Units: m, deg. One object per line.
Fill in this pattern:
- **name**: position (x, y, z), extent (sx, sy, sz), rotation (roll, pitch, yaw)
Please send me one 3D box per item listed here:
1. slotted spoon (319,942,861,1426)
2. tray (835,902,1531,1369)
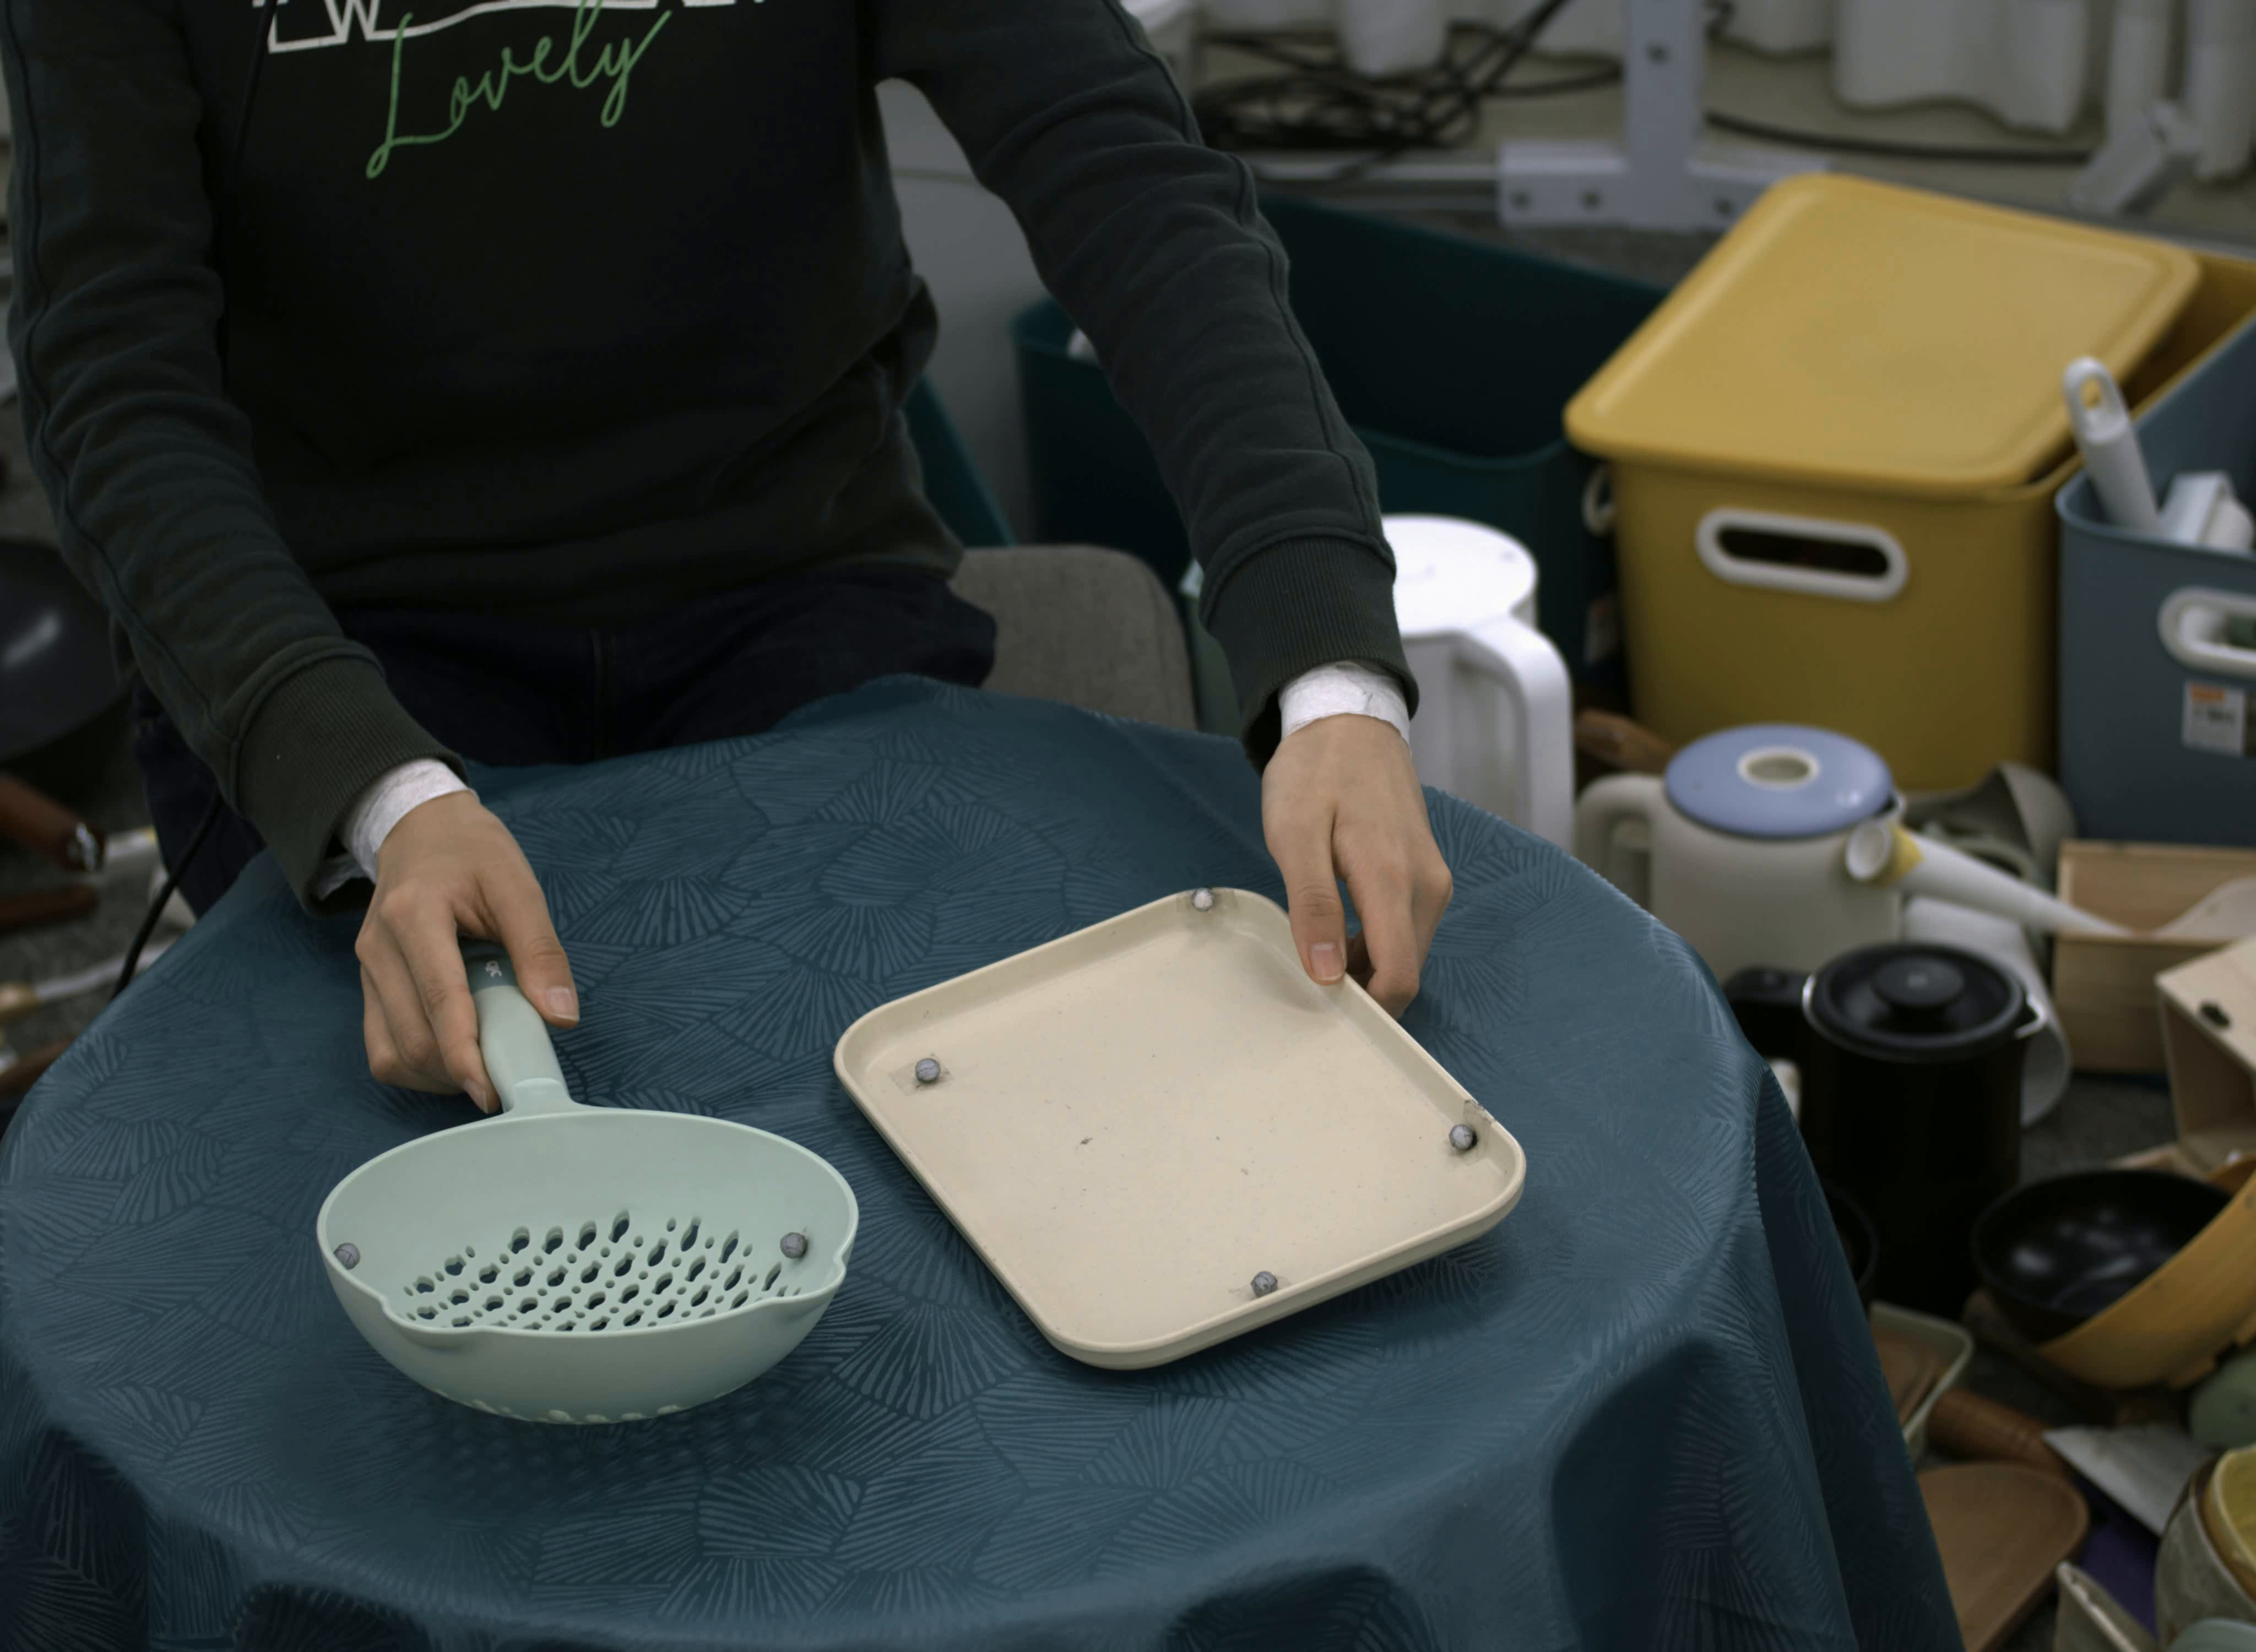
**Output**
- **slotted spoon**: position (-0.191, 0.102, 1.846), extent (0.169, 0.074, 0.363), rotation (-3, 27, -14)
- **tray**: position (0.016, 0.101, 1.864), extent (0.172, 0.017, 0.241), rotation (-20, 30, -17)
